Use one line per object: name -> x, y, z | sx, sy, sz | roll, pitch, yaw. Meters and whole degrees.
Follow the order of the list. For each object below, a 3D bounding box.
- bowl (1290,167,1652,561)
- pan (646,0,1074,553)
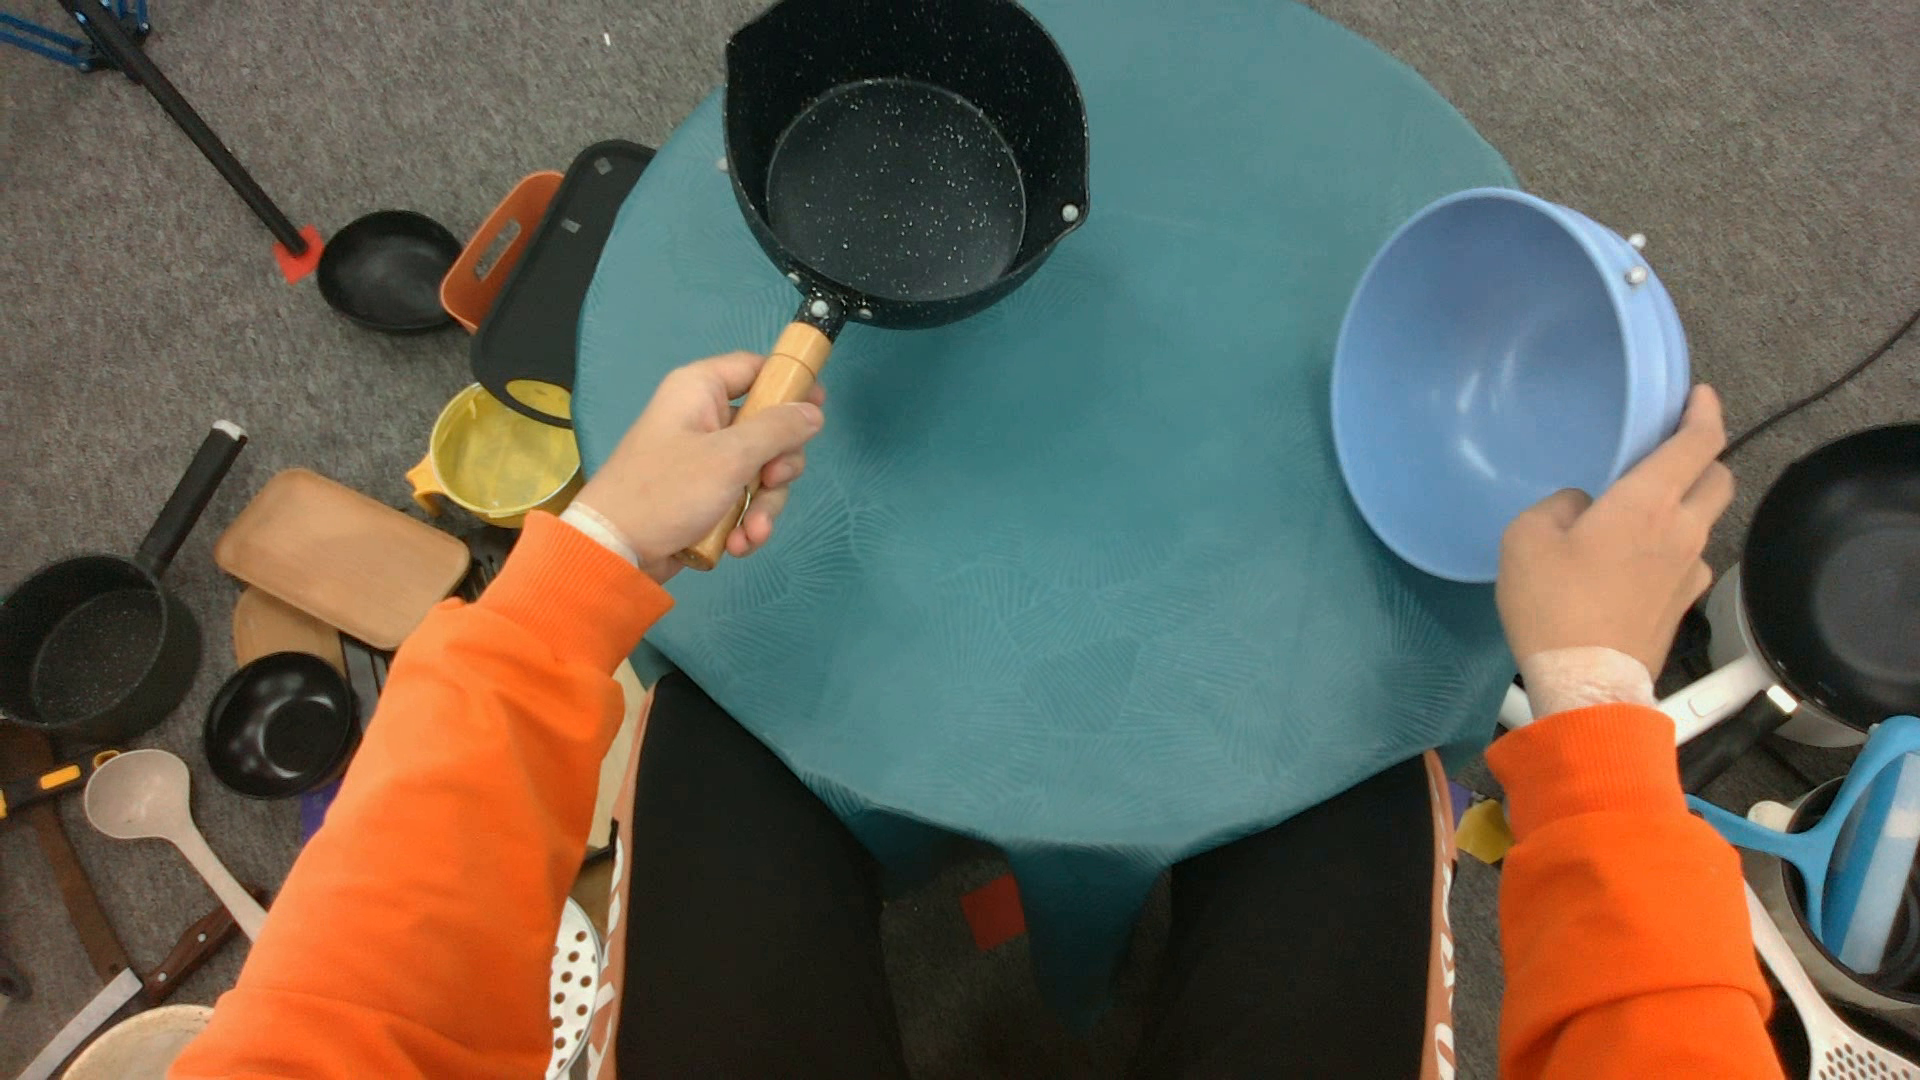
bowl -> 0.277, -0.089, 0.719 | 0.095, 0.195, 0.197 | -2, 64, -32
pan -> -0.068, -0.137, 0.701 | 0.207, 0.108, 0.344 | 24, 74, -3
